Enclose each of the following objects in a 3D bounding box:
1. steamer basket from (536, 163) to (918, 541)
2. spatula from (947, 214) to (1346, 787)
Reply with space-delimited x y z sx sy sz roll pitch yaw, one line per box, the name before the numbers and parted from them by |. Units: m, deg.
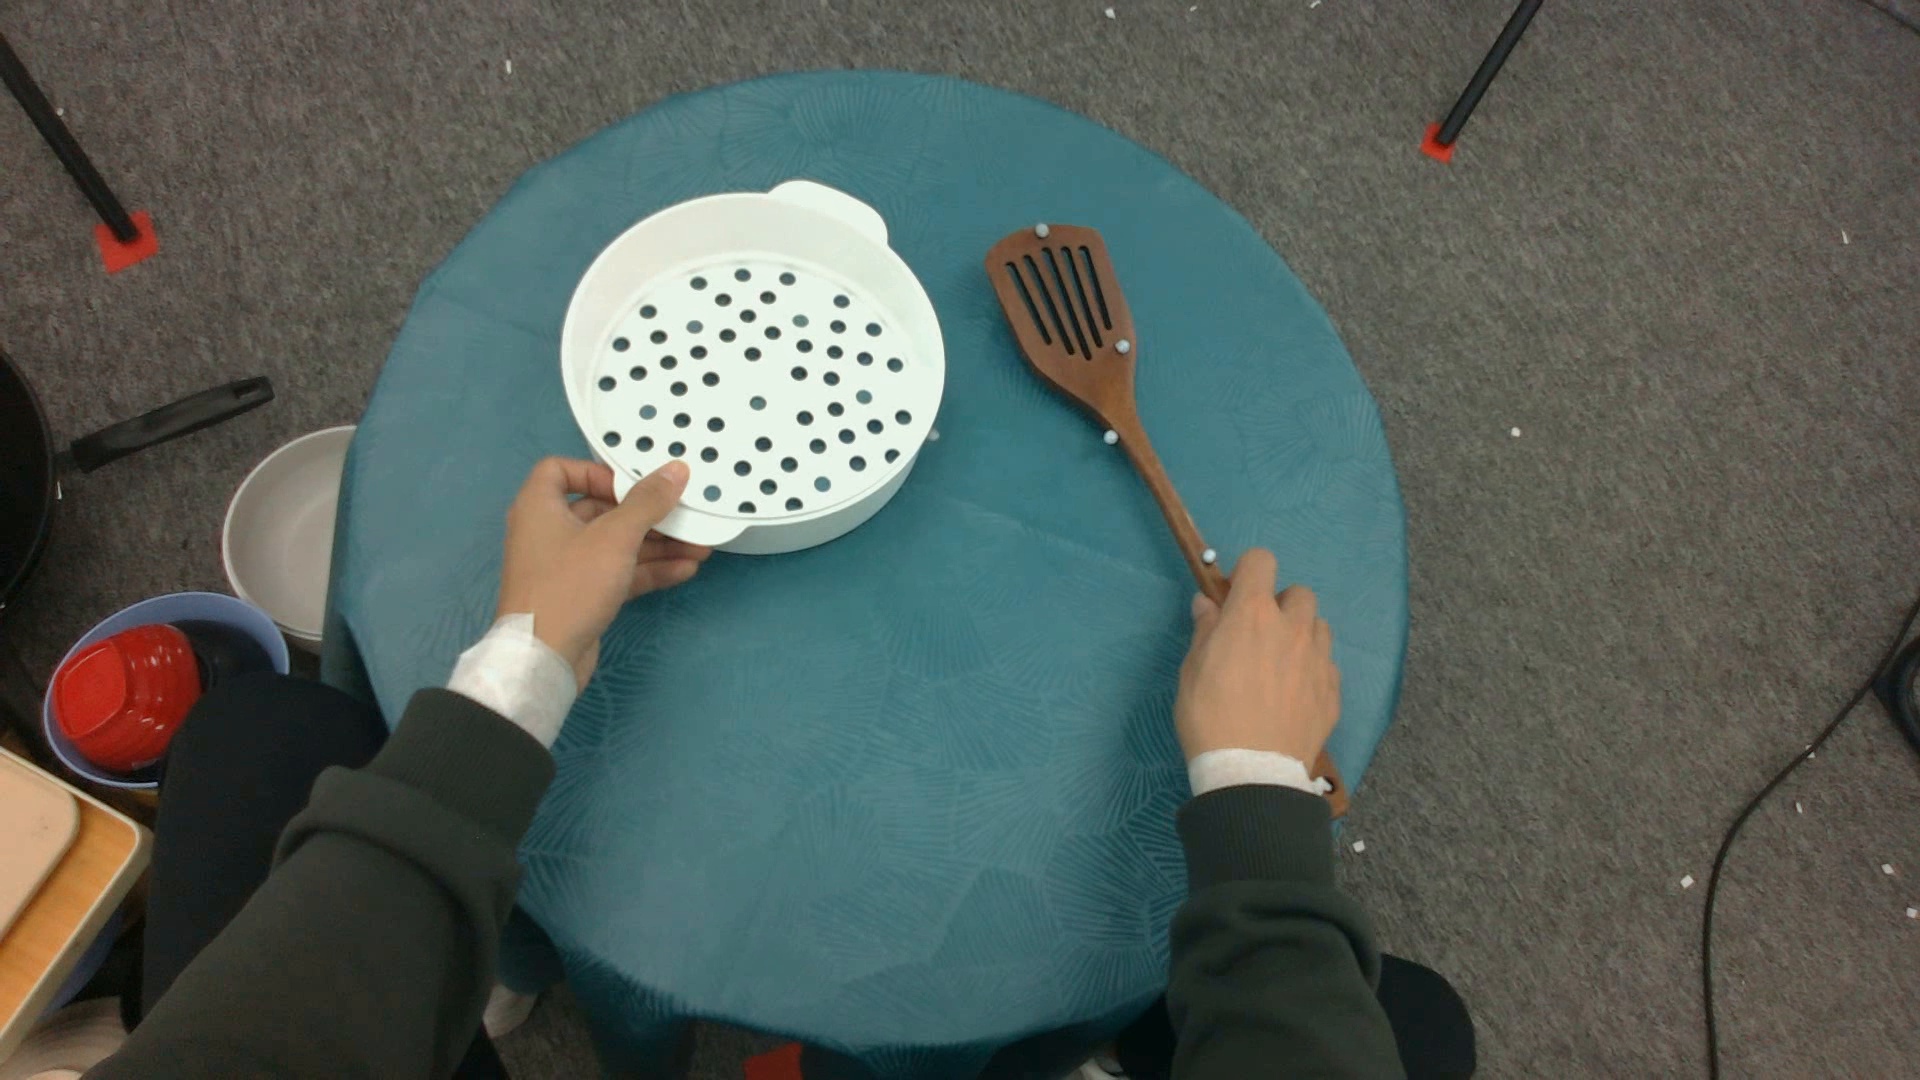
steamer basket | -0.126 -0.098 0.763 0.202 0.069 0.231 20 69 1
spatula | 0.111 -0.031 0.789 0.086 0.023 0.386 -21 70 -23
